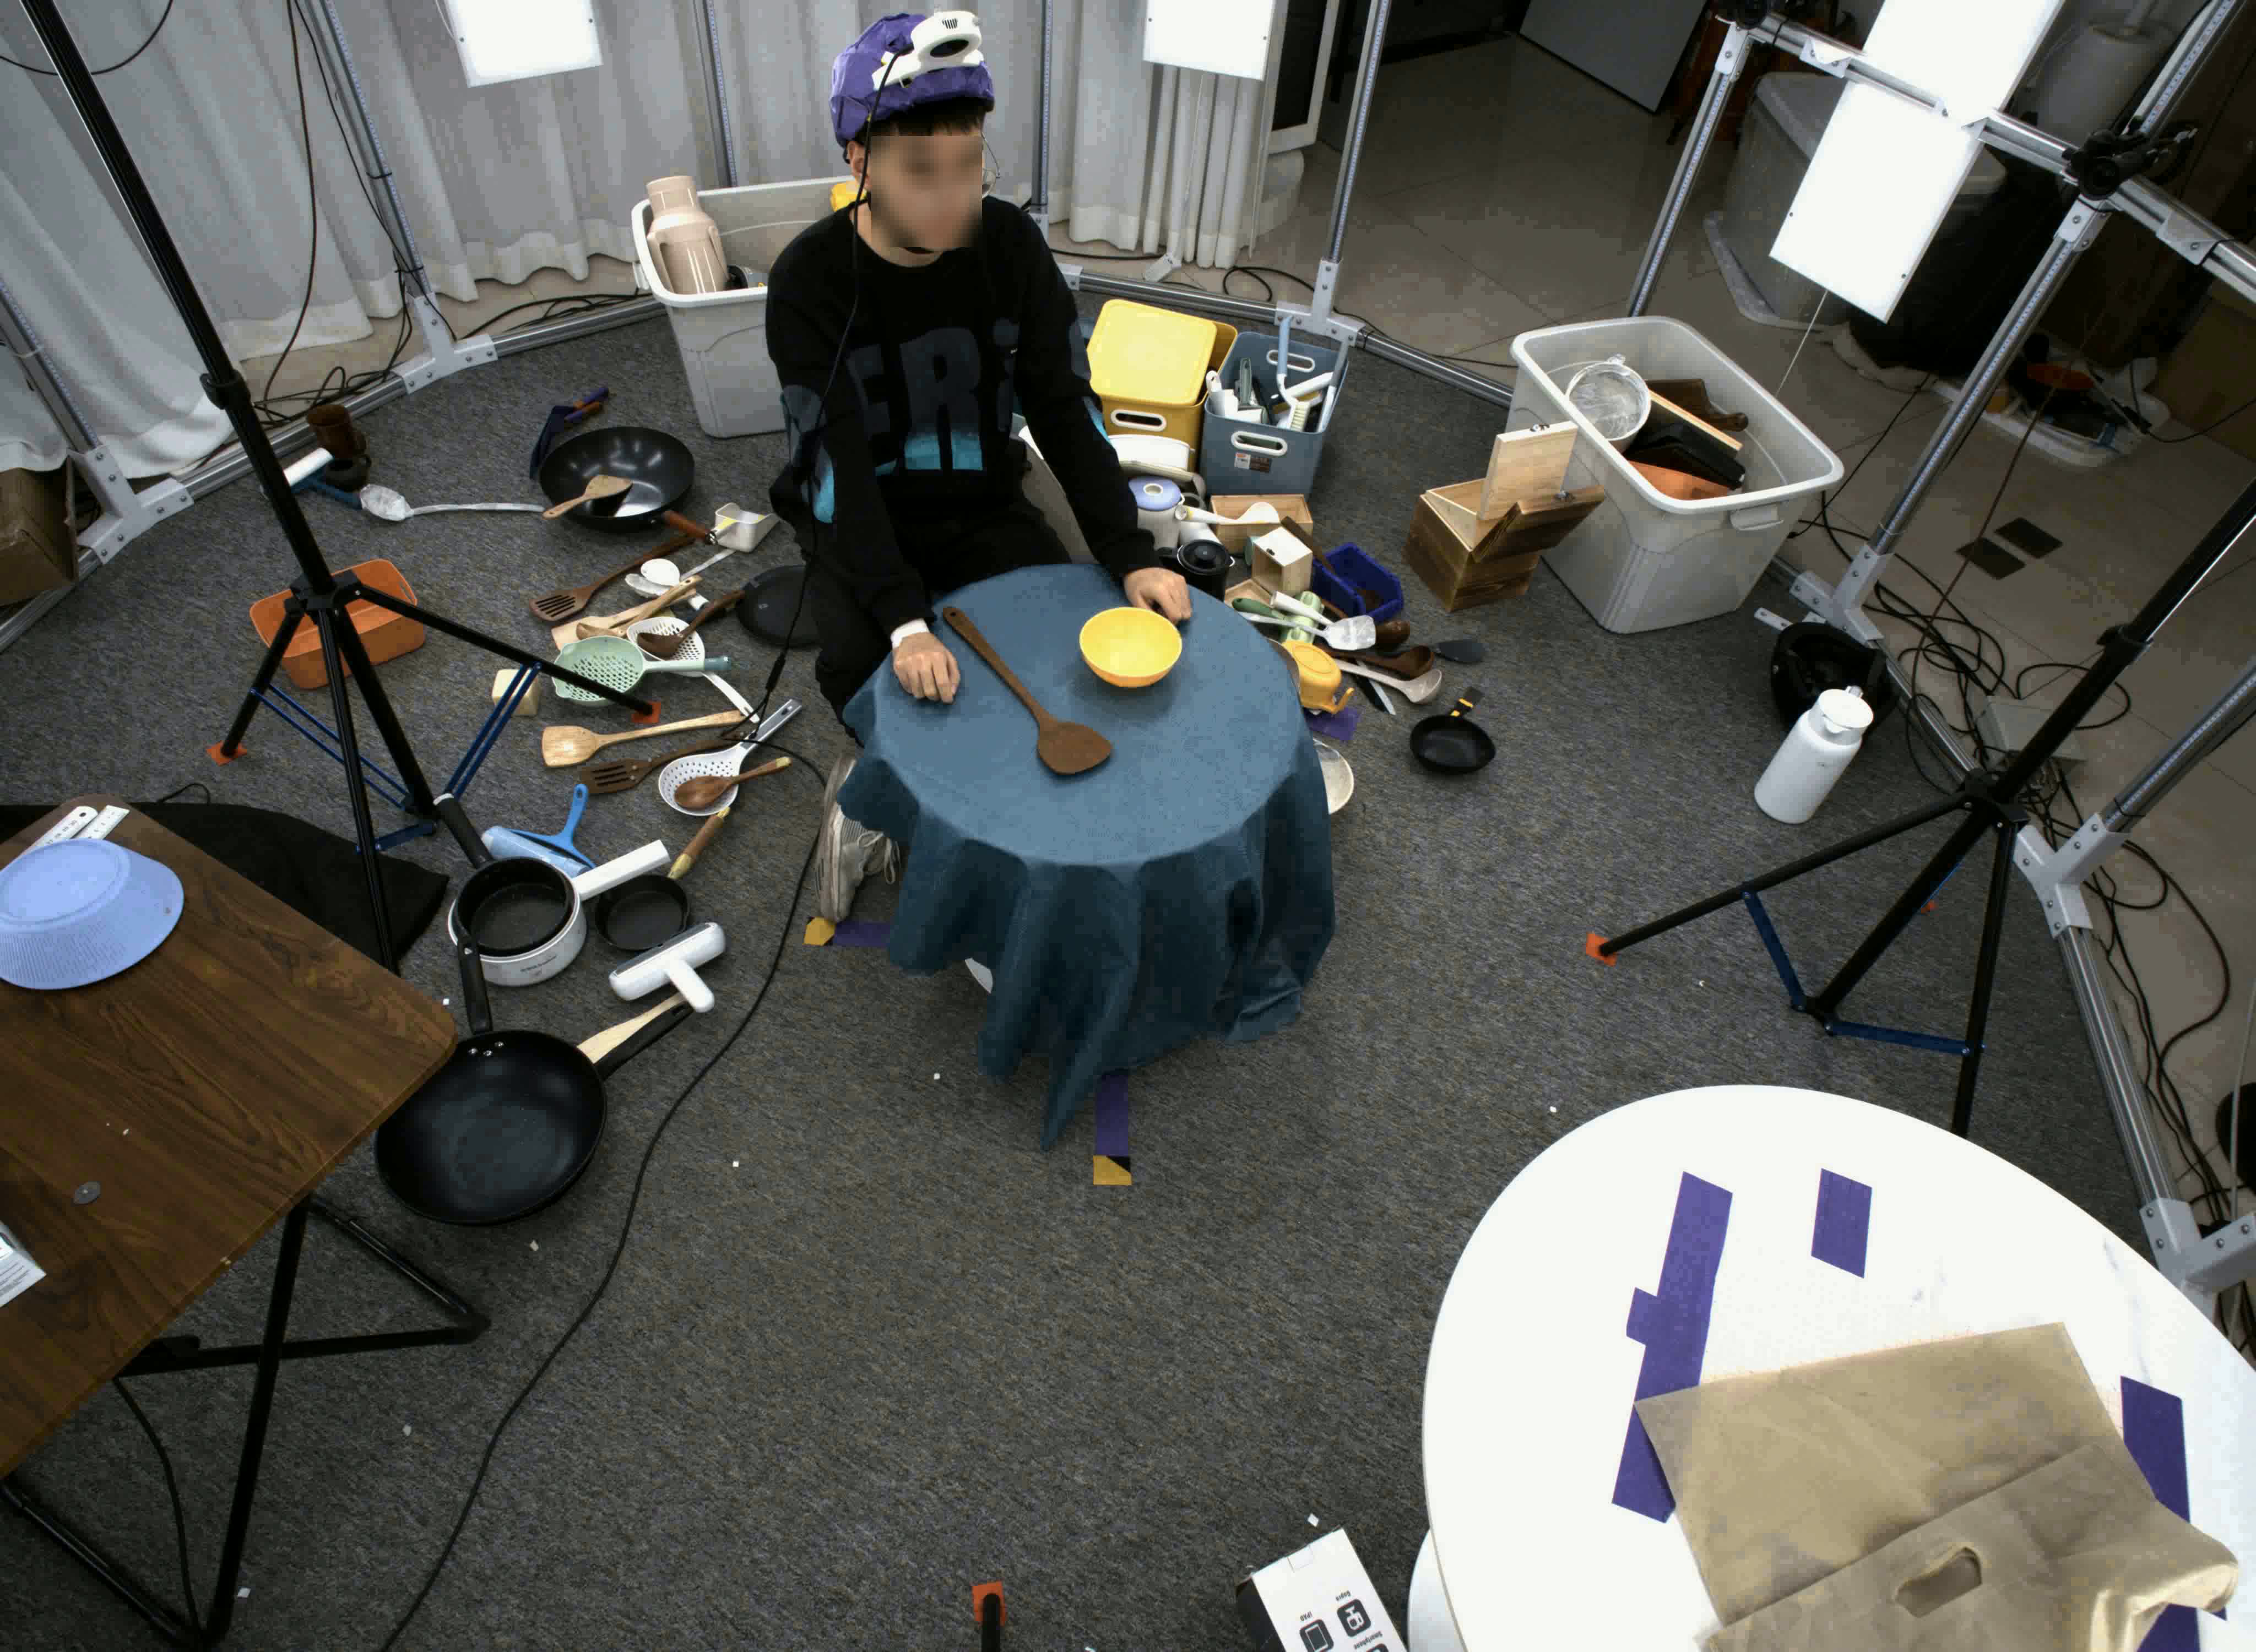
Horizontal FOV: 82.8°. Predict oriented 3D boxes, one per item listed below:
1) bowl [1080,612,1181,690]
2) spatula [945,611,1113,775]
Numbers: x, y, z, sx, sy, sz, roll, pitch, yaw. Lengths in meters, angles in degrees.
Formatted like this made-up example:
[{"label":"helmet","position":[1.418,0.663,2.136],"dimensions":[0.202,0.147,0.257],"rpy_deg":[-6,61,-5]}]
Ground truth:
[{"label":"bowl","position":[0.001,-0.242,1.860],"dimensions":[0.145,0.058,0.149],"rpy_deg":[3,47,-3]},{"label":"spatula","position":[-0.160,-0.201,1.840],"dimensions":[0.096,0.015,0.393],"rpy_deg":[-25,55,-24]}]
